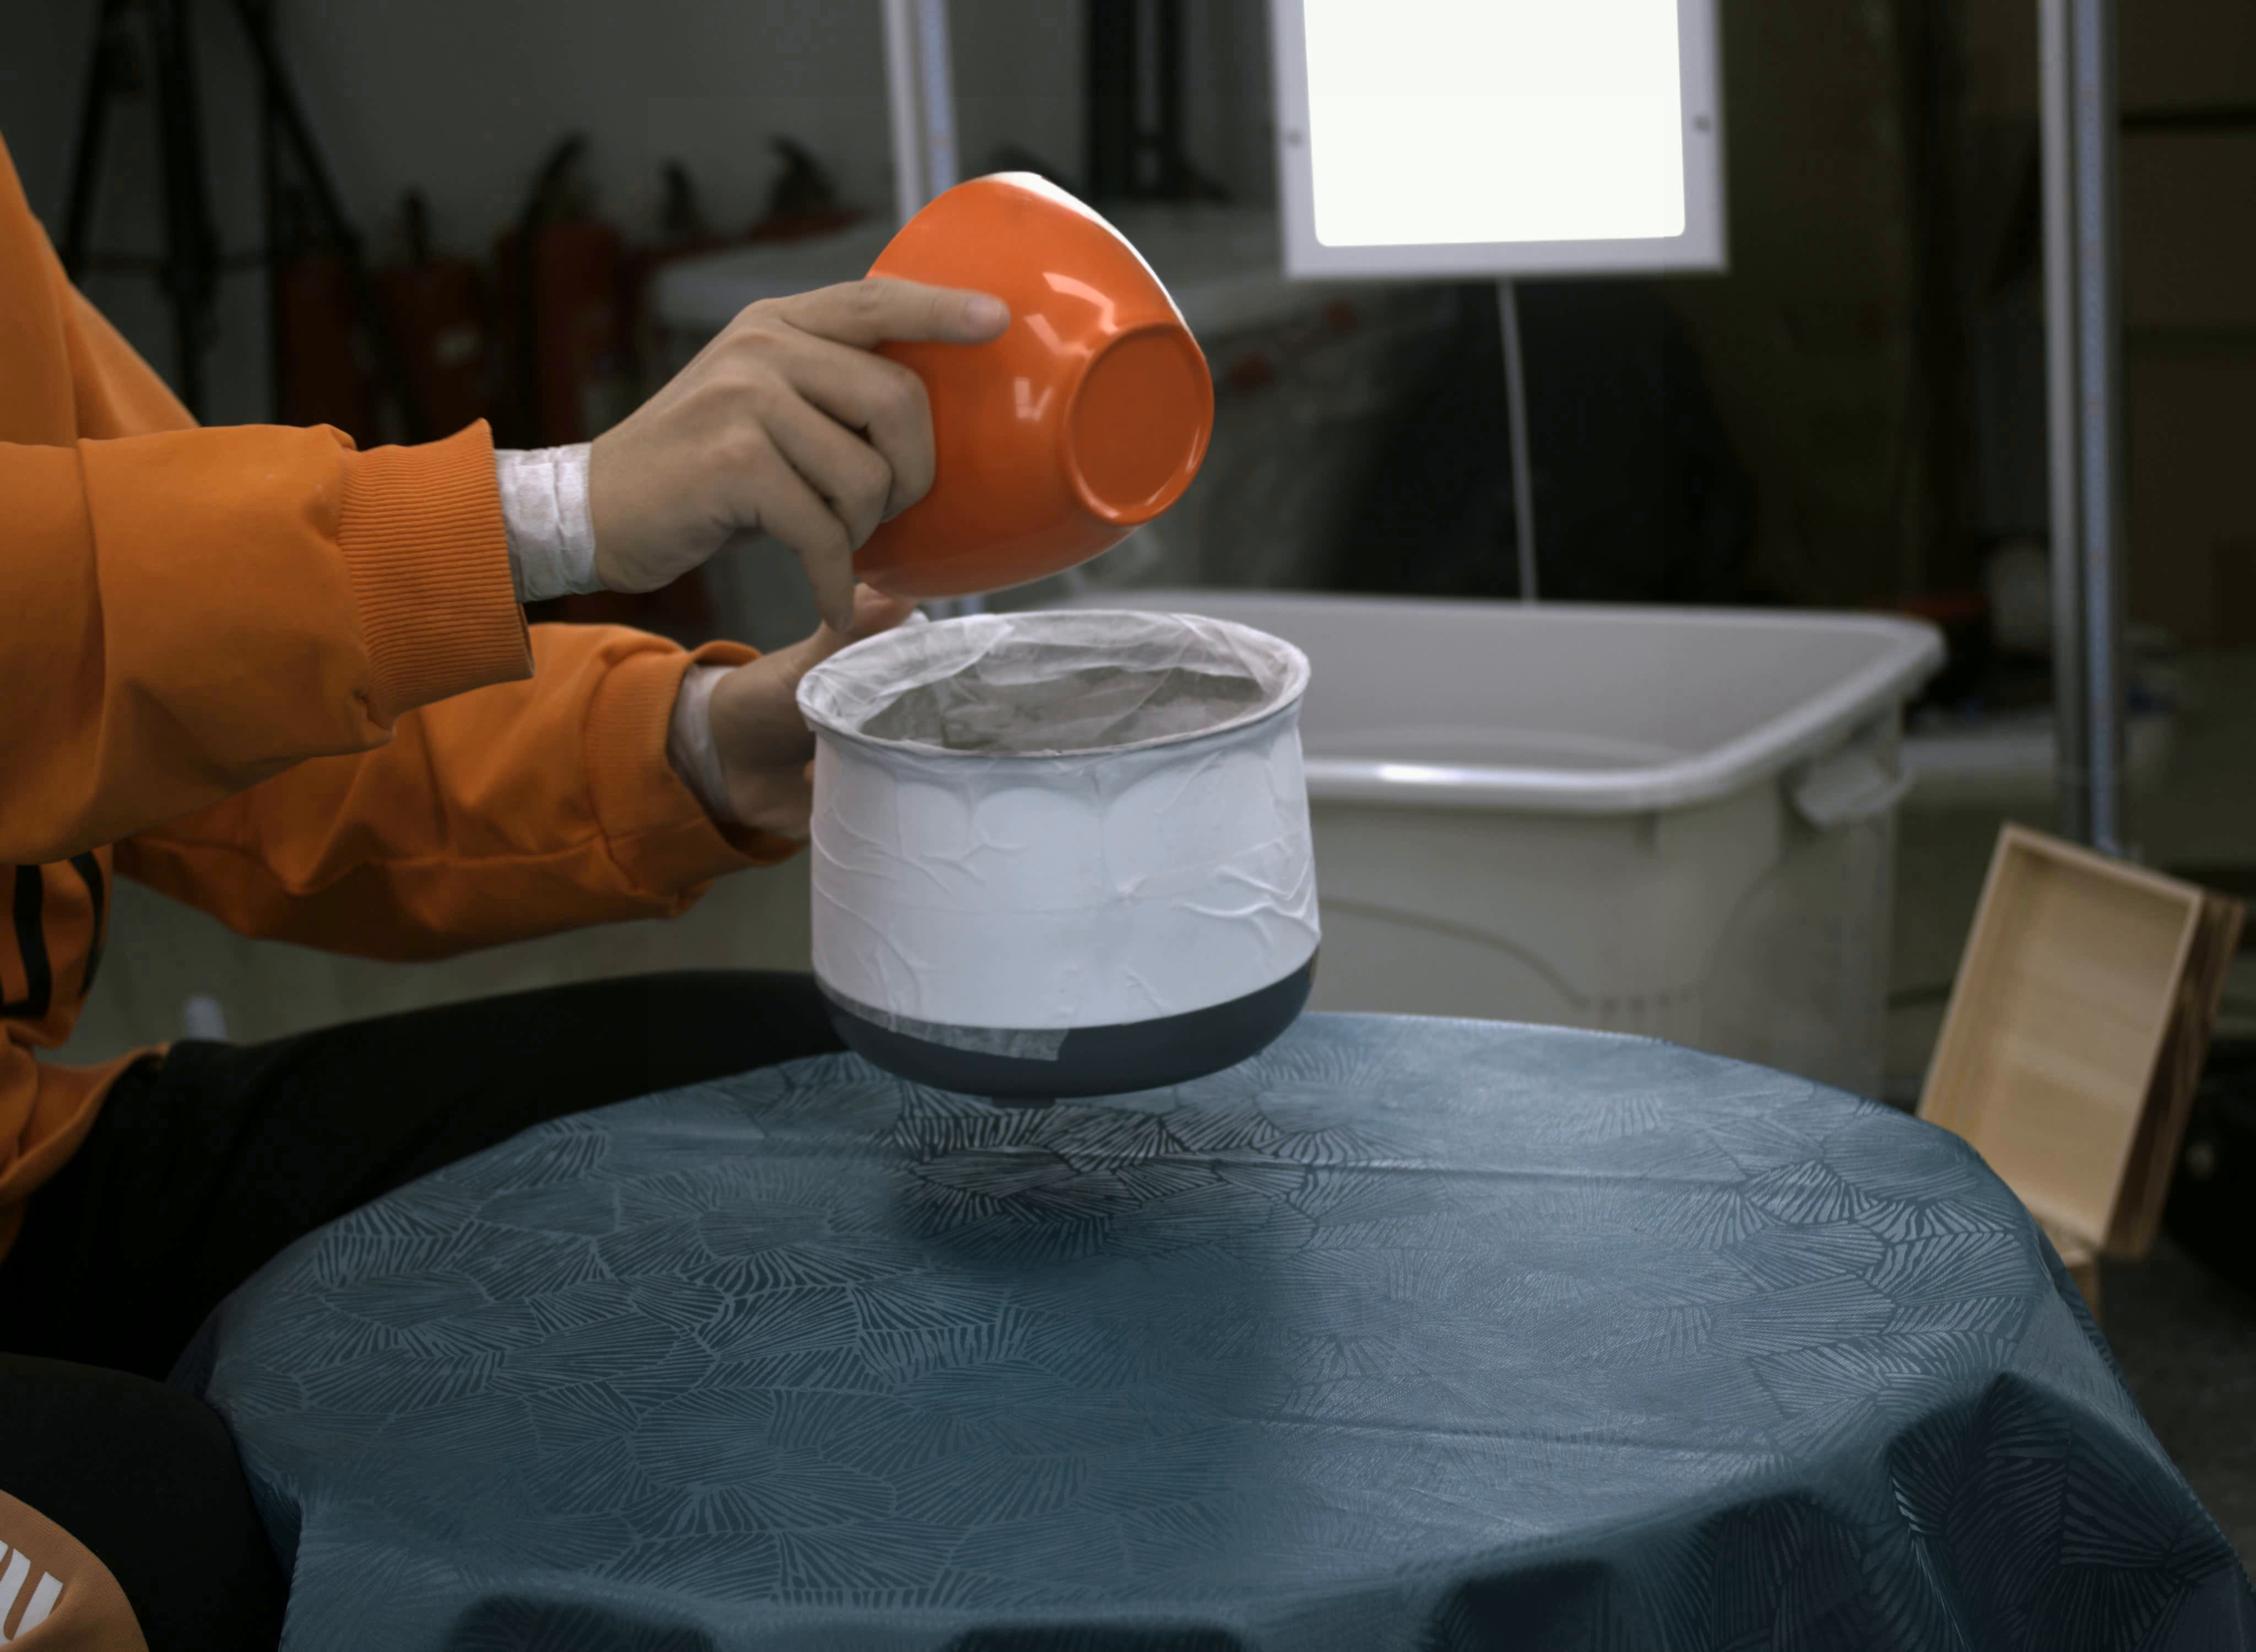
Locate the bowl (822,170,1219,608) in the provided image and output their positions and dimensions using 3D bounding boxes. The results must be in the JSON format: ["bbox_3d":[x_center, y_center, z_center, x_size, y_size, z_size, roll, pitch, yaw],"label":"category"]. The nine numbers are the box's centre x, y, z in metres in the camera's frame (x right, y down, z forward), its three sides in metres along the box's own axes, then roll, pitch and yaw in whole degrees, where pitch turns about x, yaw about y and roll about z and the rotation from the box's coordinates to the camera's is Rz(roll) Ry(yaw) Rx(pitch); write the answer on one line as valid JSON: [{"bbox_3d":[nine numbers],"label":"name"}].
[{"bbox_3d":[-0.023,-0.136,1.788,0.144,0.149,0.107,-17,23,-41],"label":"bowl"}]

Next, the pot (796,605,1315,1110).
[{"bbox_3d":[-0.039,0.004,1.922,0.174,0.137,0.238,-13,20,-30],"label":"pot"}]
